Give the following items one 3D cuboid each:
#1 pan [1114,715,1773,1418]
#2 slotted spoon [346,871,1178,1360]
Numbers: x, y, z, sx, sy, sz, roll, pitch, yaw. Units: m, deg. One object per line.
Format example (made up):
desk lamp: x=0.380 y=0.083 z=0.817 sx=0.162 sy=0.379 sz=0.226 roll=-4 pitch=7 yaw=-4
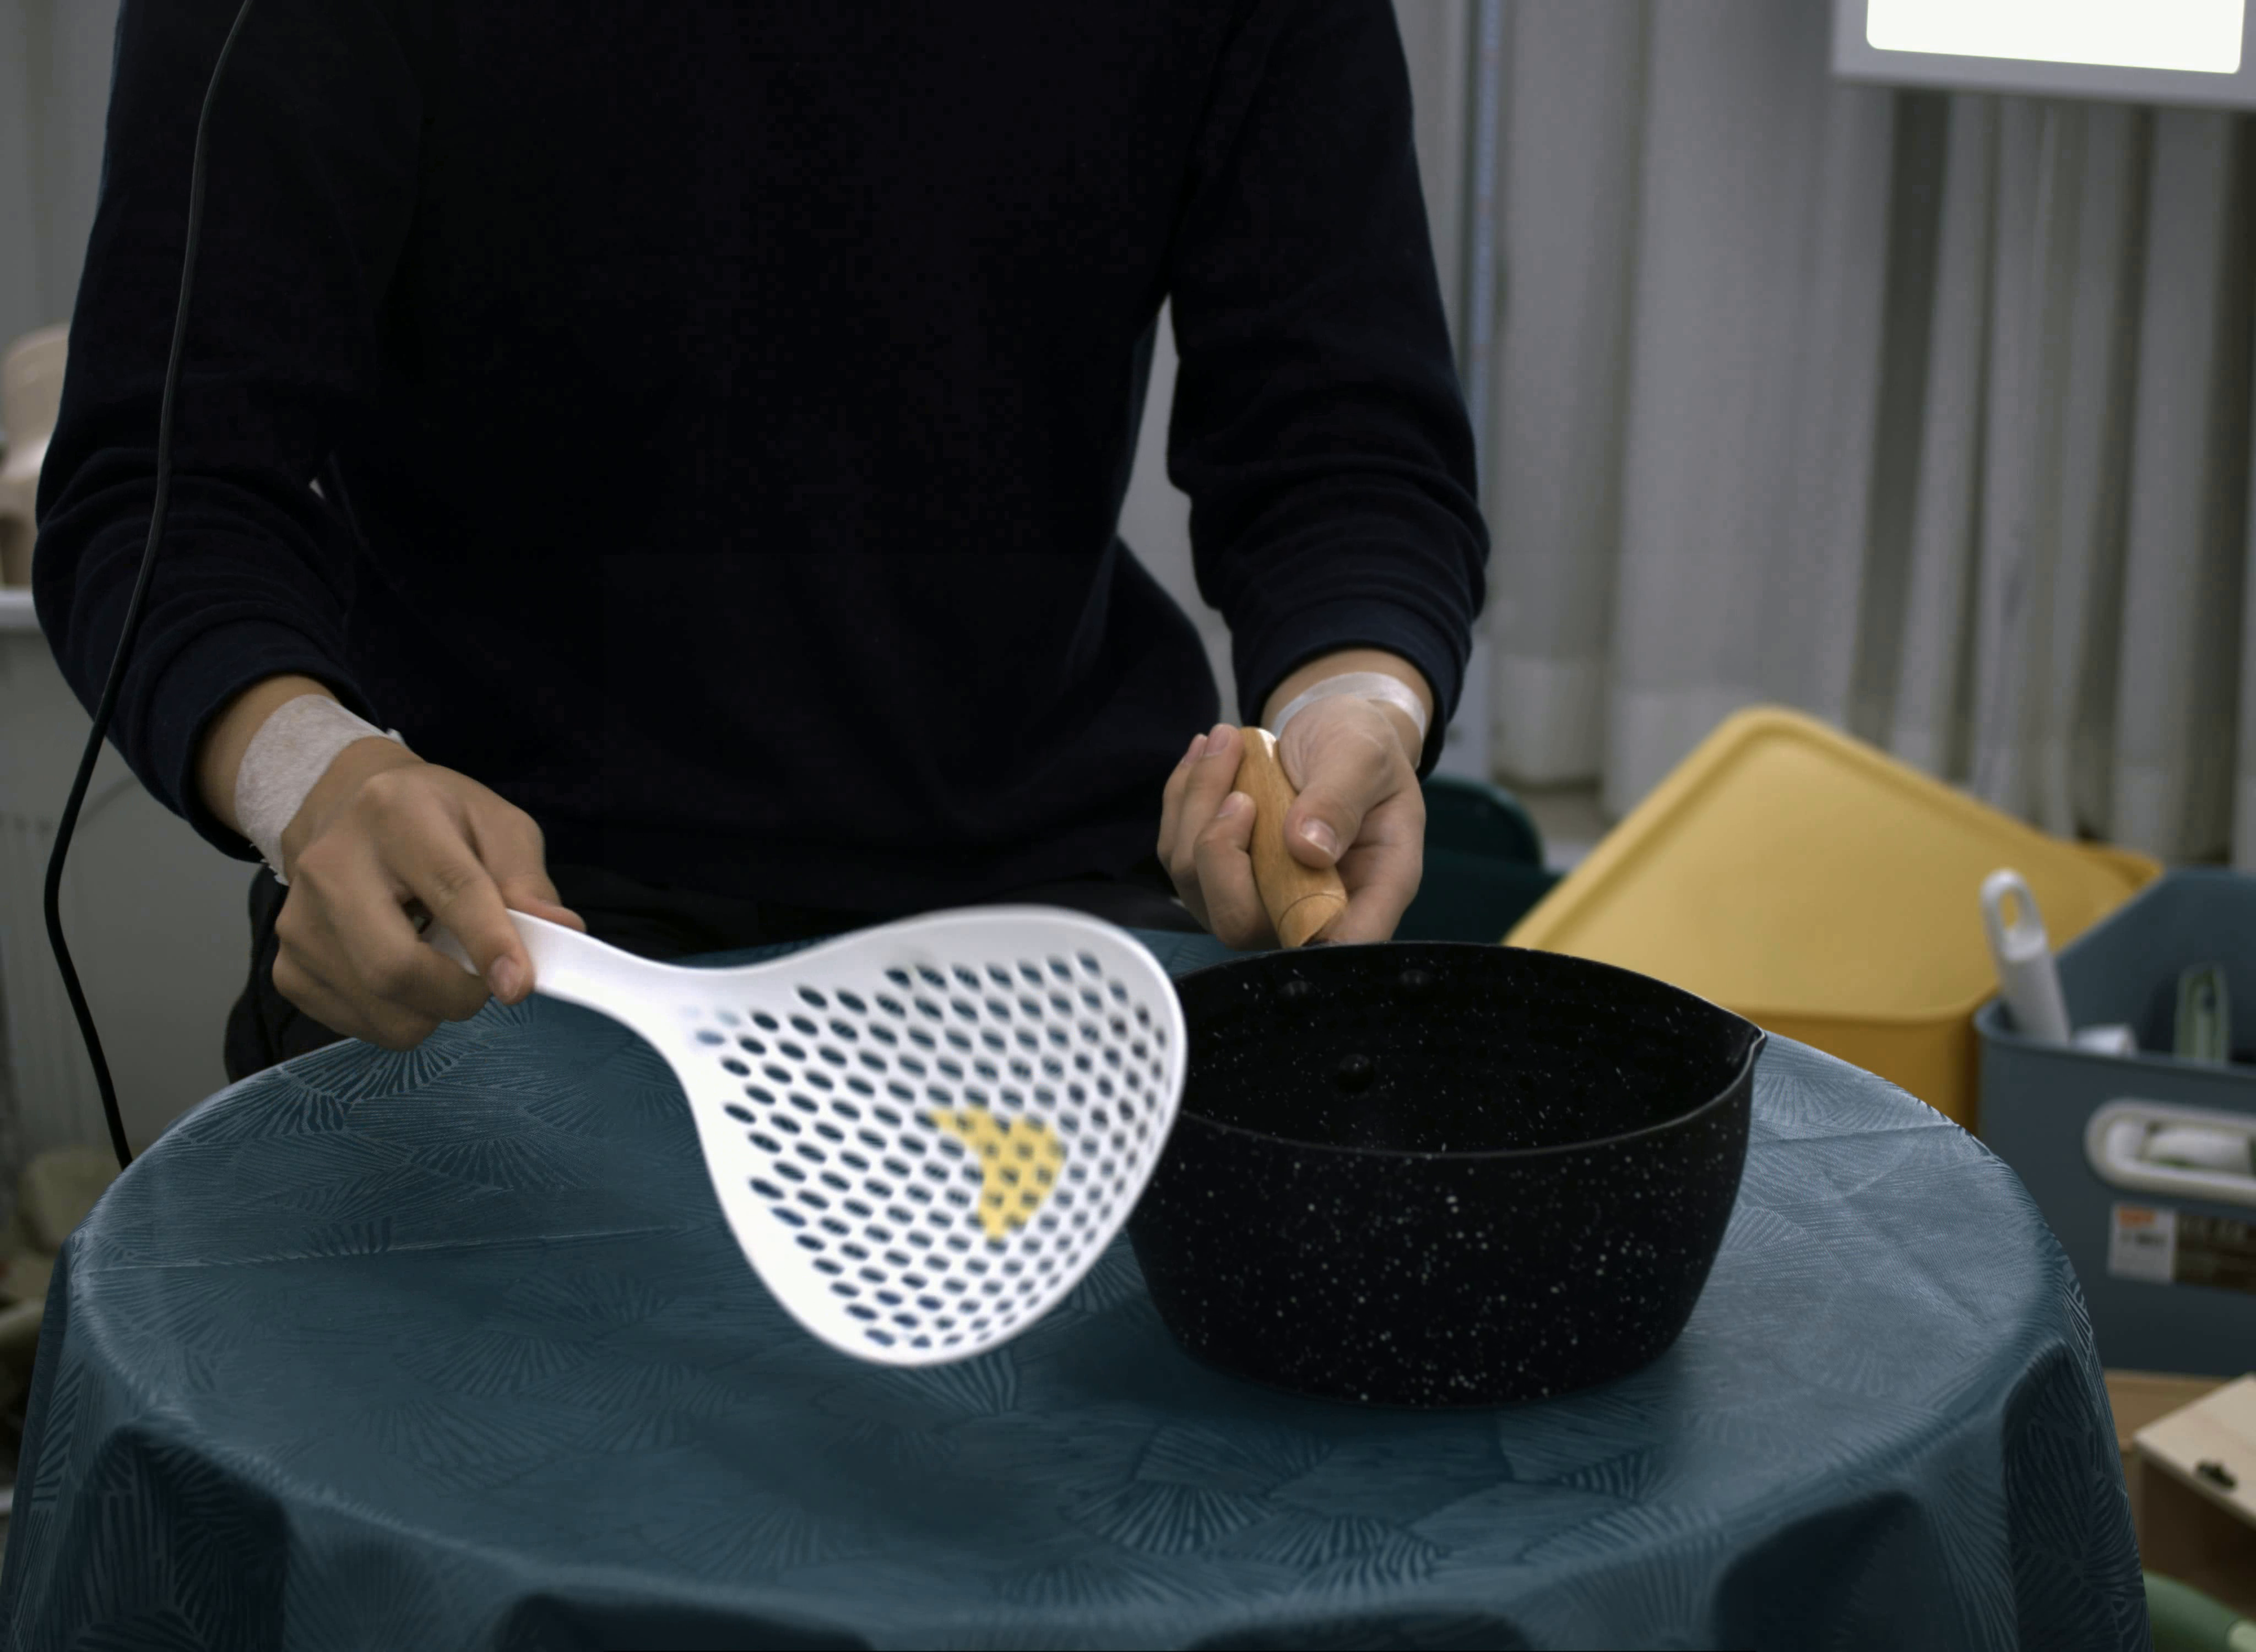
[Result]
pan: x=0.068 y=0.066 z=1.575 sx=0.207 sy=0.109 sz=0.339 roll=-4 pitch=19 yaw=-12
slotted spoon: x=-0.115 y=0.058 z=1.470 sx=0.343 sy=0.137 sz=0.051 roll=17 pitch=-12 yaw=39
